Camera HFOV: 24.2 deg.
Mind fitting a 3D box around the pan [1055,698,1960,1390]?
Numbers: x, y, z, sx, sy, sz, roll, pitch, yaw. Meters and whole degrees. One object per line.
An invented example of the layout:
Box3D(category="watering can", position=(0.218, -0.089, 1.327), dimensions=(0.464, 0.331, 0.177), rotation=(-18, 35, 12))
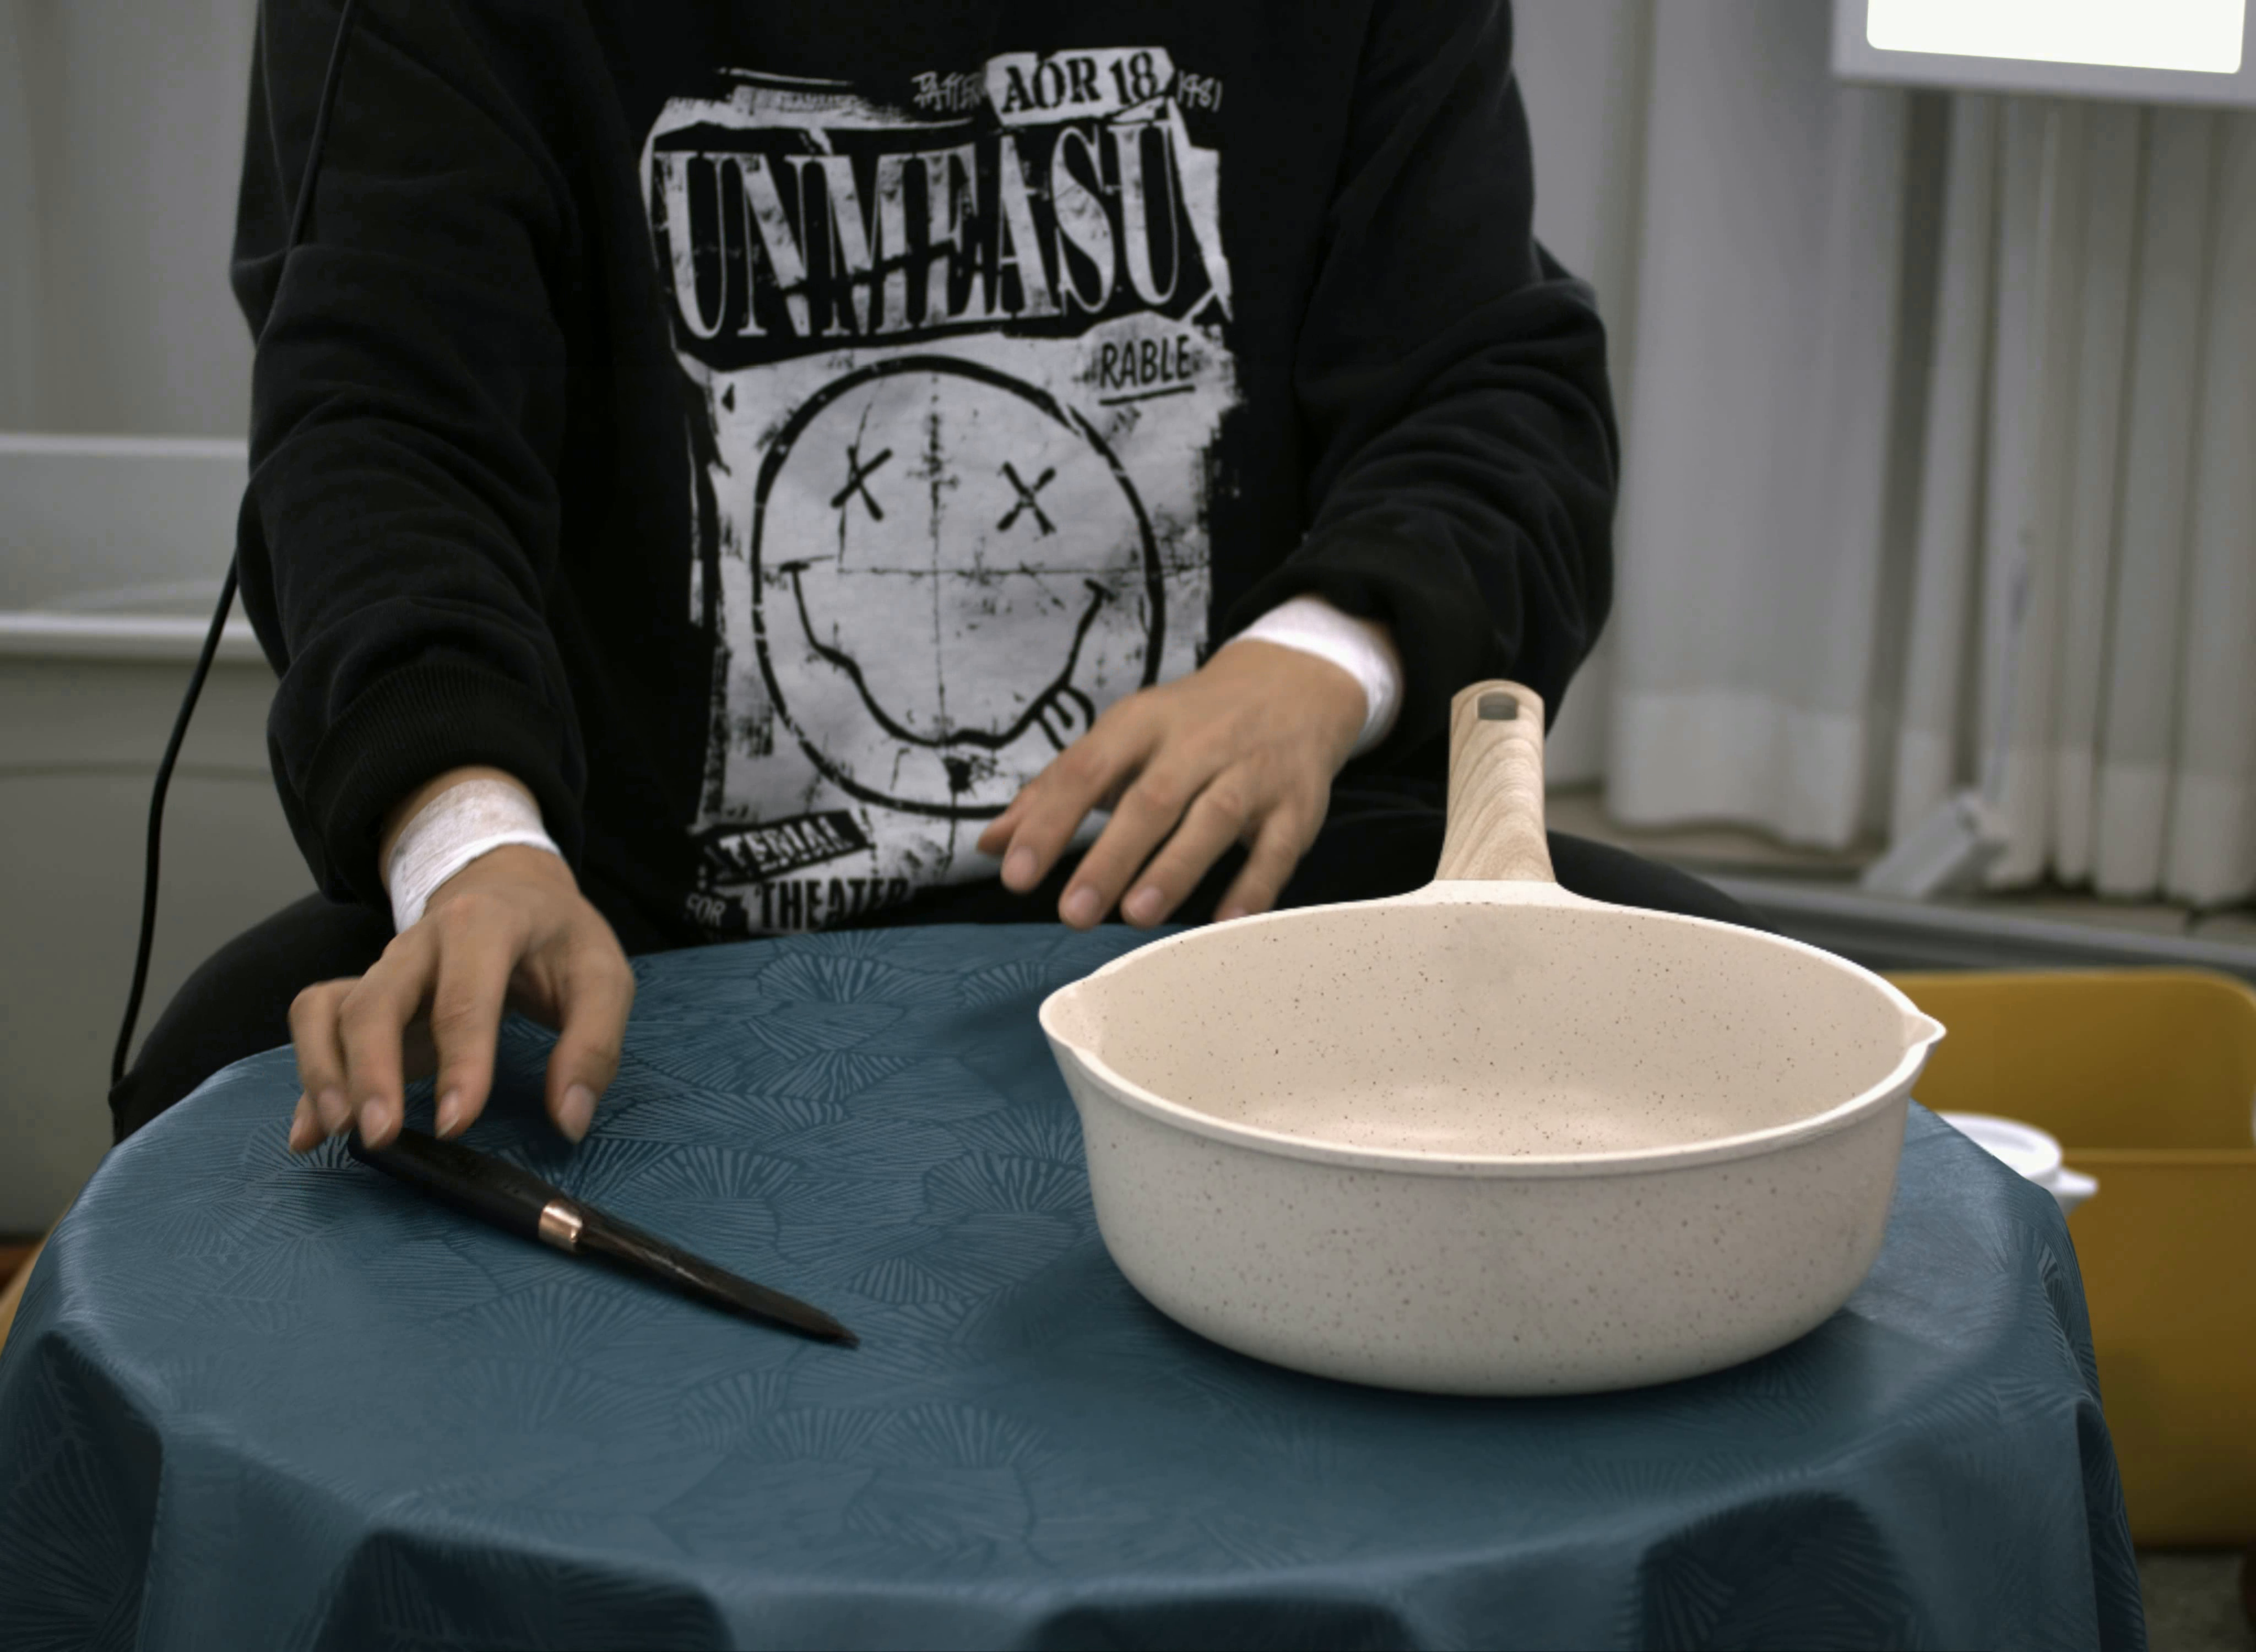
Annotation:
Box3D(category="pan", position=(0.116, 0.062, 1.623), dimensions=(0.262, 0.103, 0.433), rotation=(0, 15, 3))

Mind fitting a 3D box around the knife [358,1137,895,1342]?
Box3D(category="knife", position=(-0.152, 0.123, 1.562), dimensions=(0.222, 0.017, 0.026), rotation=(15, 5, 41))
